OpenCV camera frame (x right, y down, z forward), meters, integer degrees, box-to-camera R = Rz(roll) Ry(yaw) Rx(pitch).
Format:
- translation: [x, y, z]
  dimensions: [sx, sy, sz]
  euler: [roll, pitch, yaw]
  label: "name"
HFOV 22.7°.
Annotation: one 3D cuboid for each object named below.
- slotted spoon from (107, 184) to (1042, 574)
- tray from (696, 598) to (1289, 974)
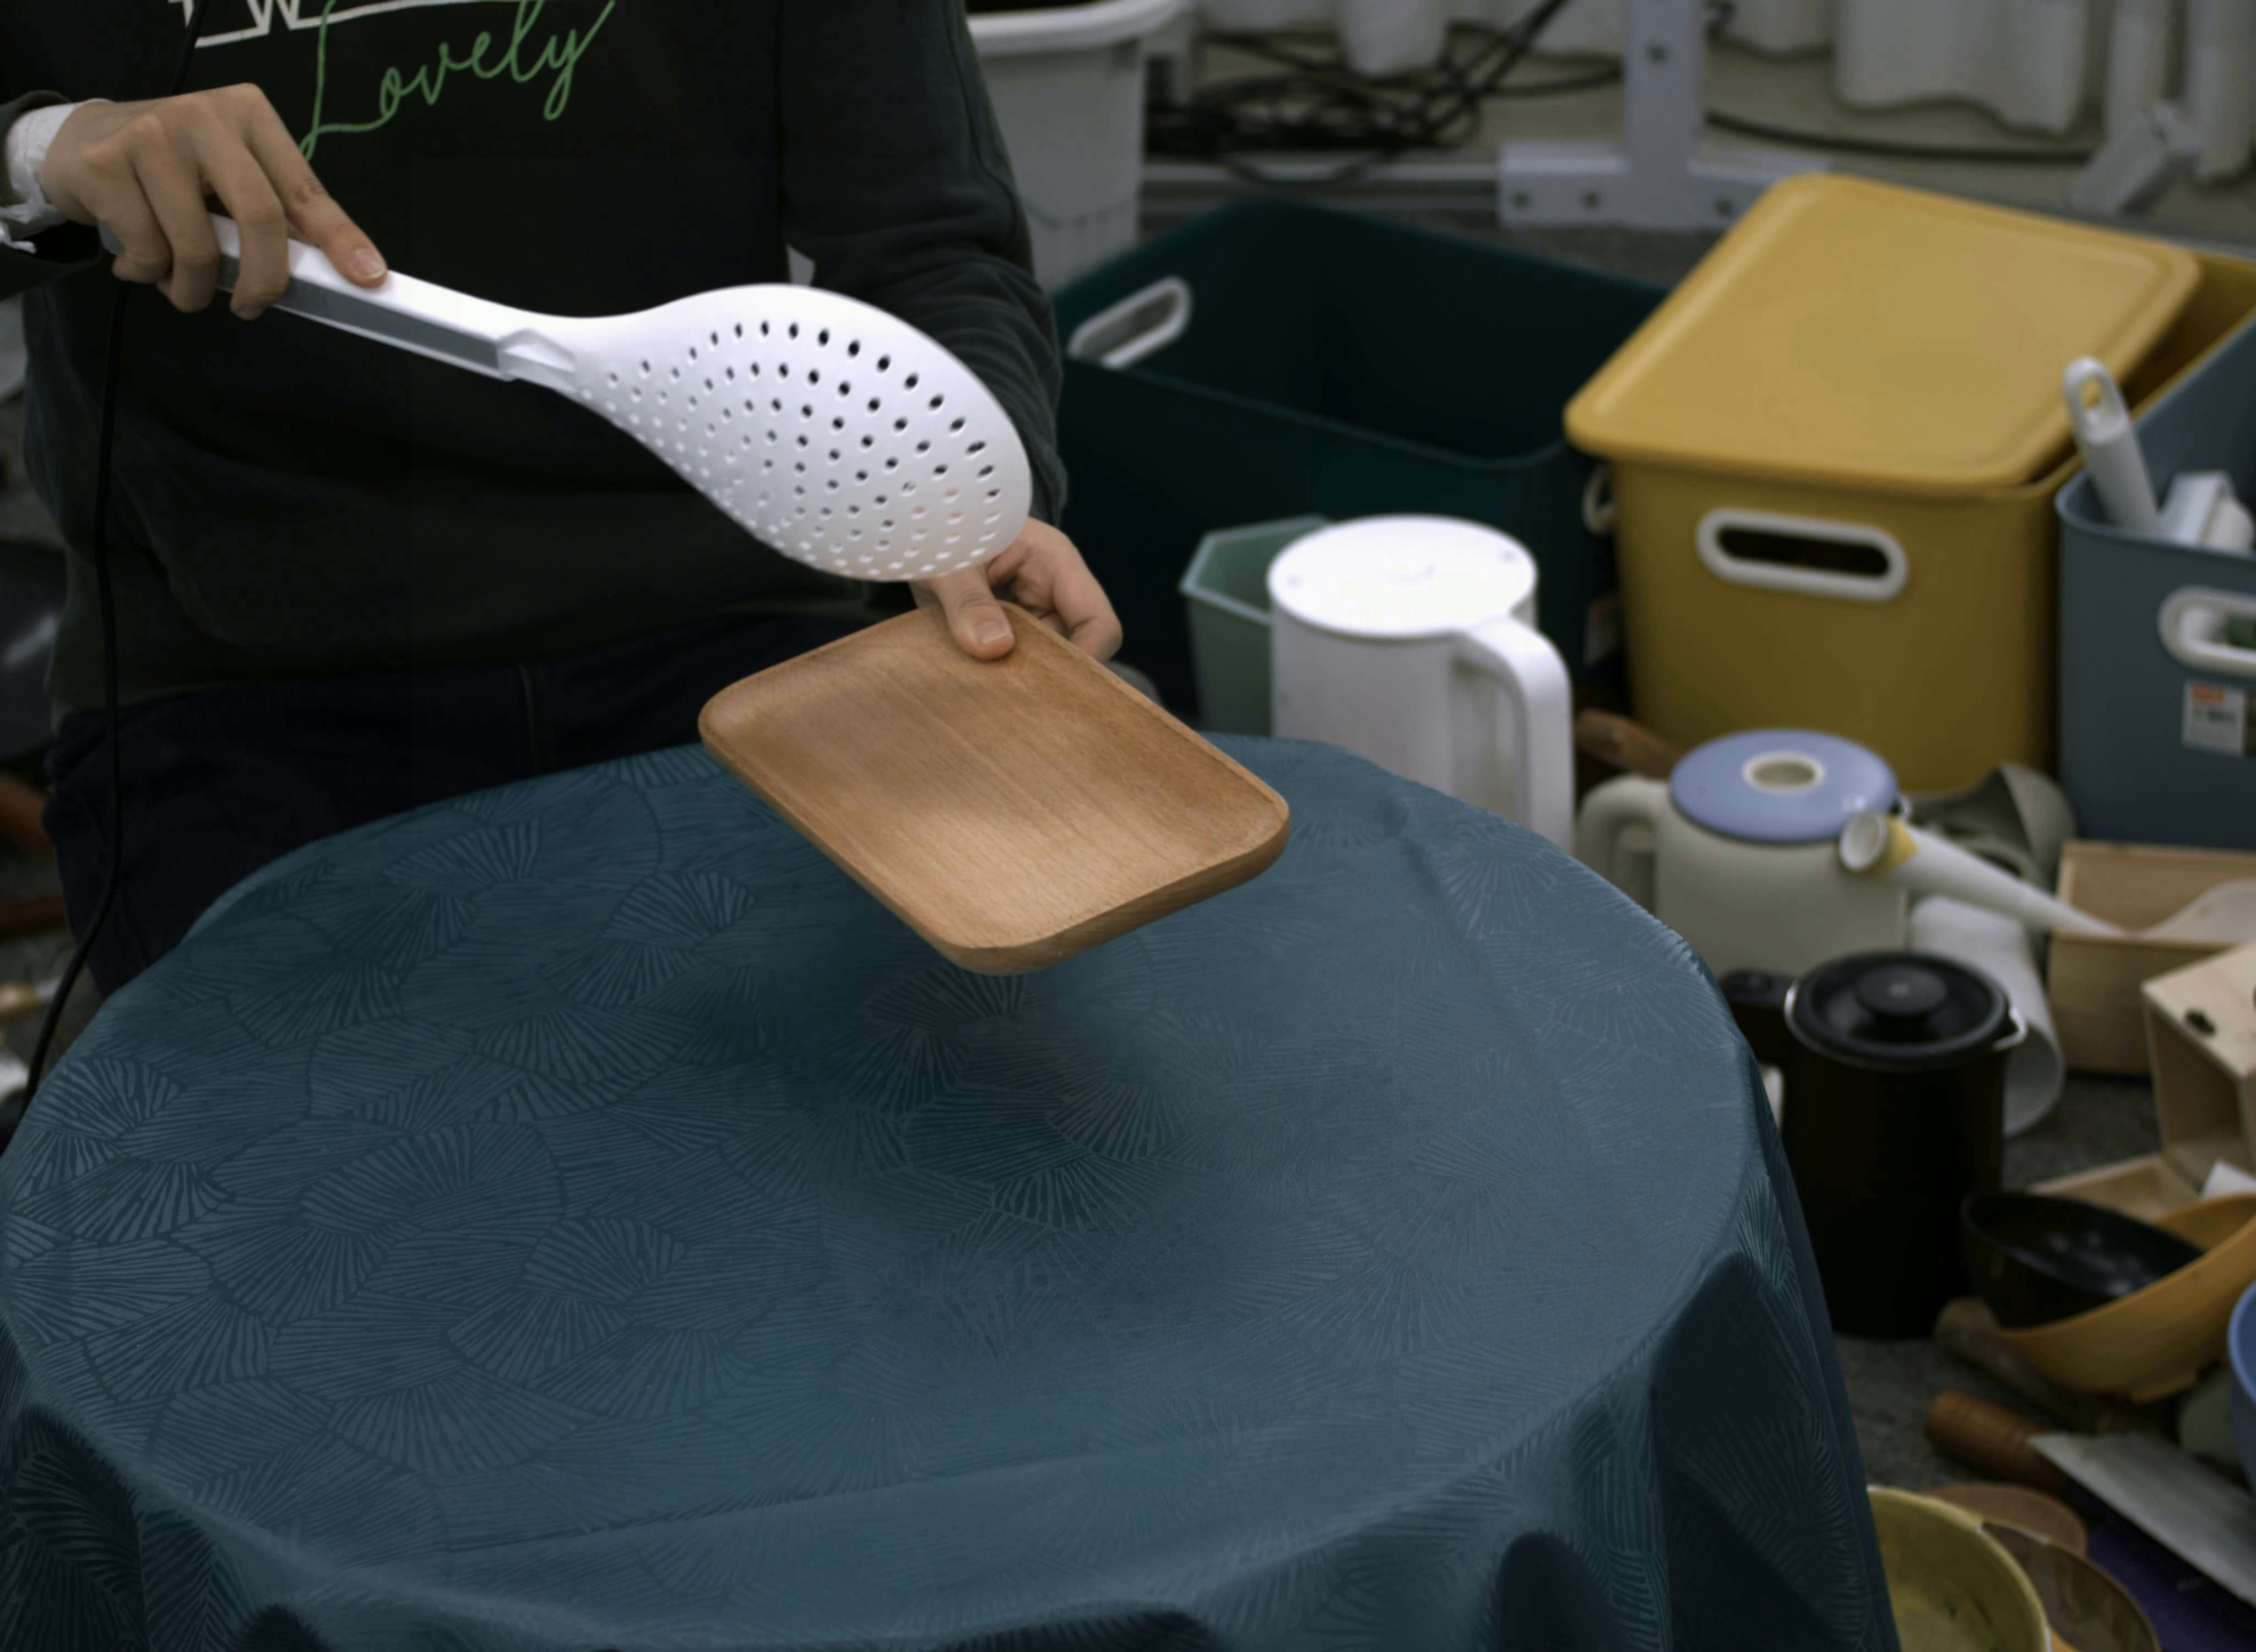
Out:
- translation: [-0.194, -0.163, 1.932]
  dimensions: [0.348, 0.134, 0.046]
  euler: [21, 52, 17]
  label: "slotted spoon"
- translation: [-0.049, -0.016, 1.898]
  dimensions: [0.131, 0.022, 0.251]
  euler: [-20, 27, -20]
  label: "tray"
